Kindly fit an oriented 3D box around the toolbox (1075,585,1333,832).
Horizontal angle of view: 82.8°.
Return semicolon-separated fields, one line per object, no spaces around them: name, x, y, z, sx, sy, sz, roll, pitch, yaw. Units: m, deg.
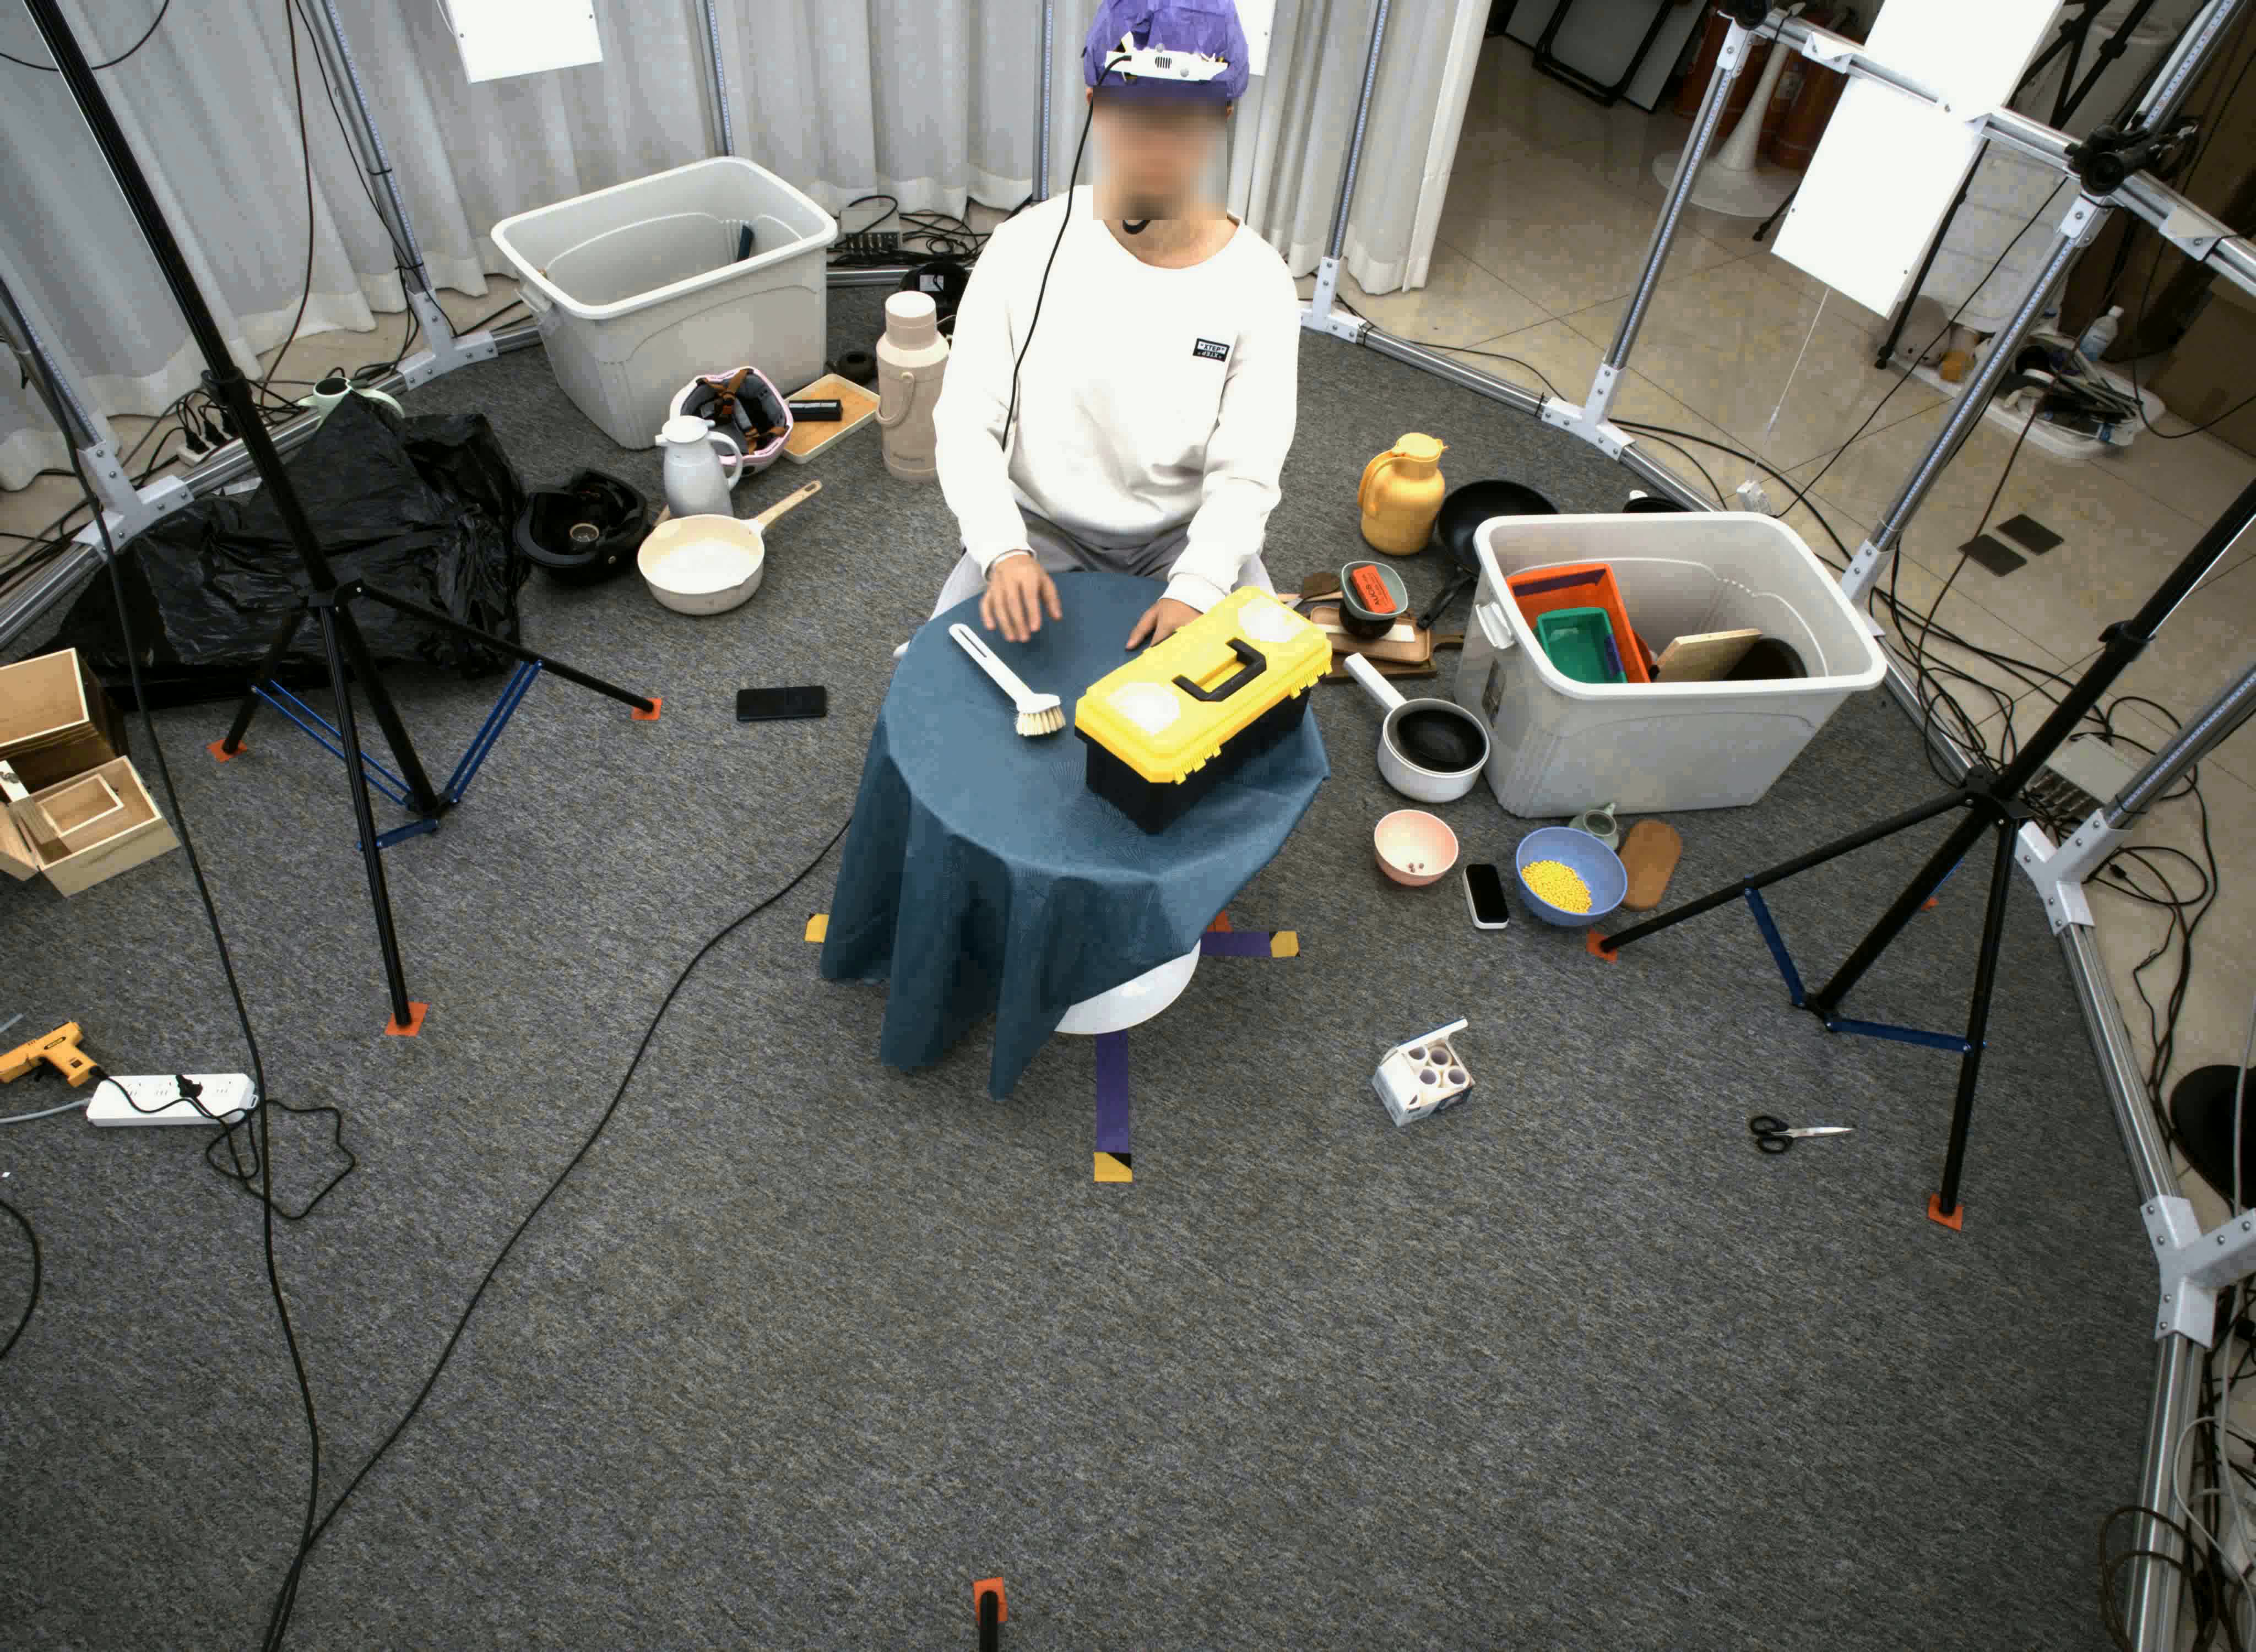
toolbox;0.098;-0.157;1.696;0.184;0.169;0.355;39;56;24

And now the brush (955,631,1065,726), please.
brush;-0.174;-0.205;1.822;0.068;0.055;0.271;-6;30;-38
